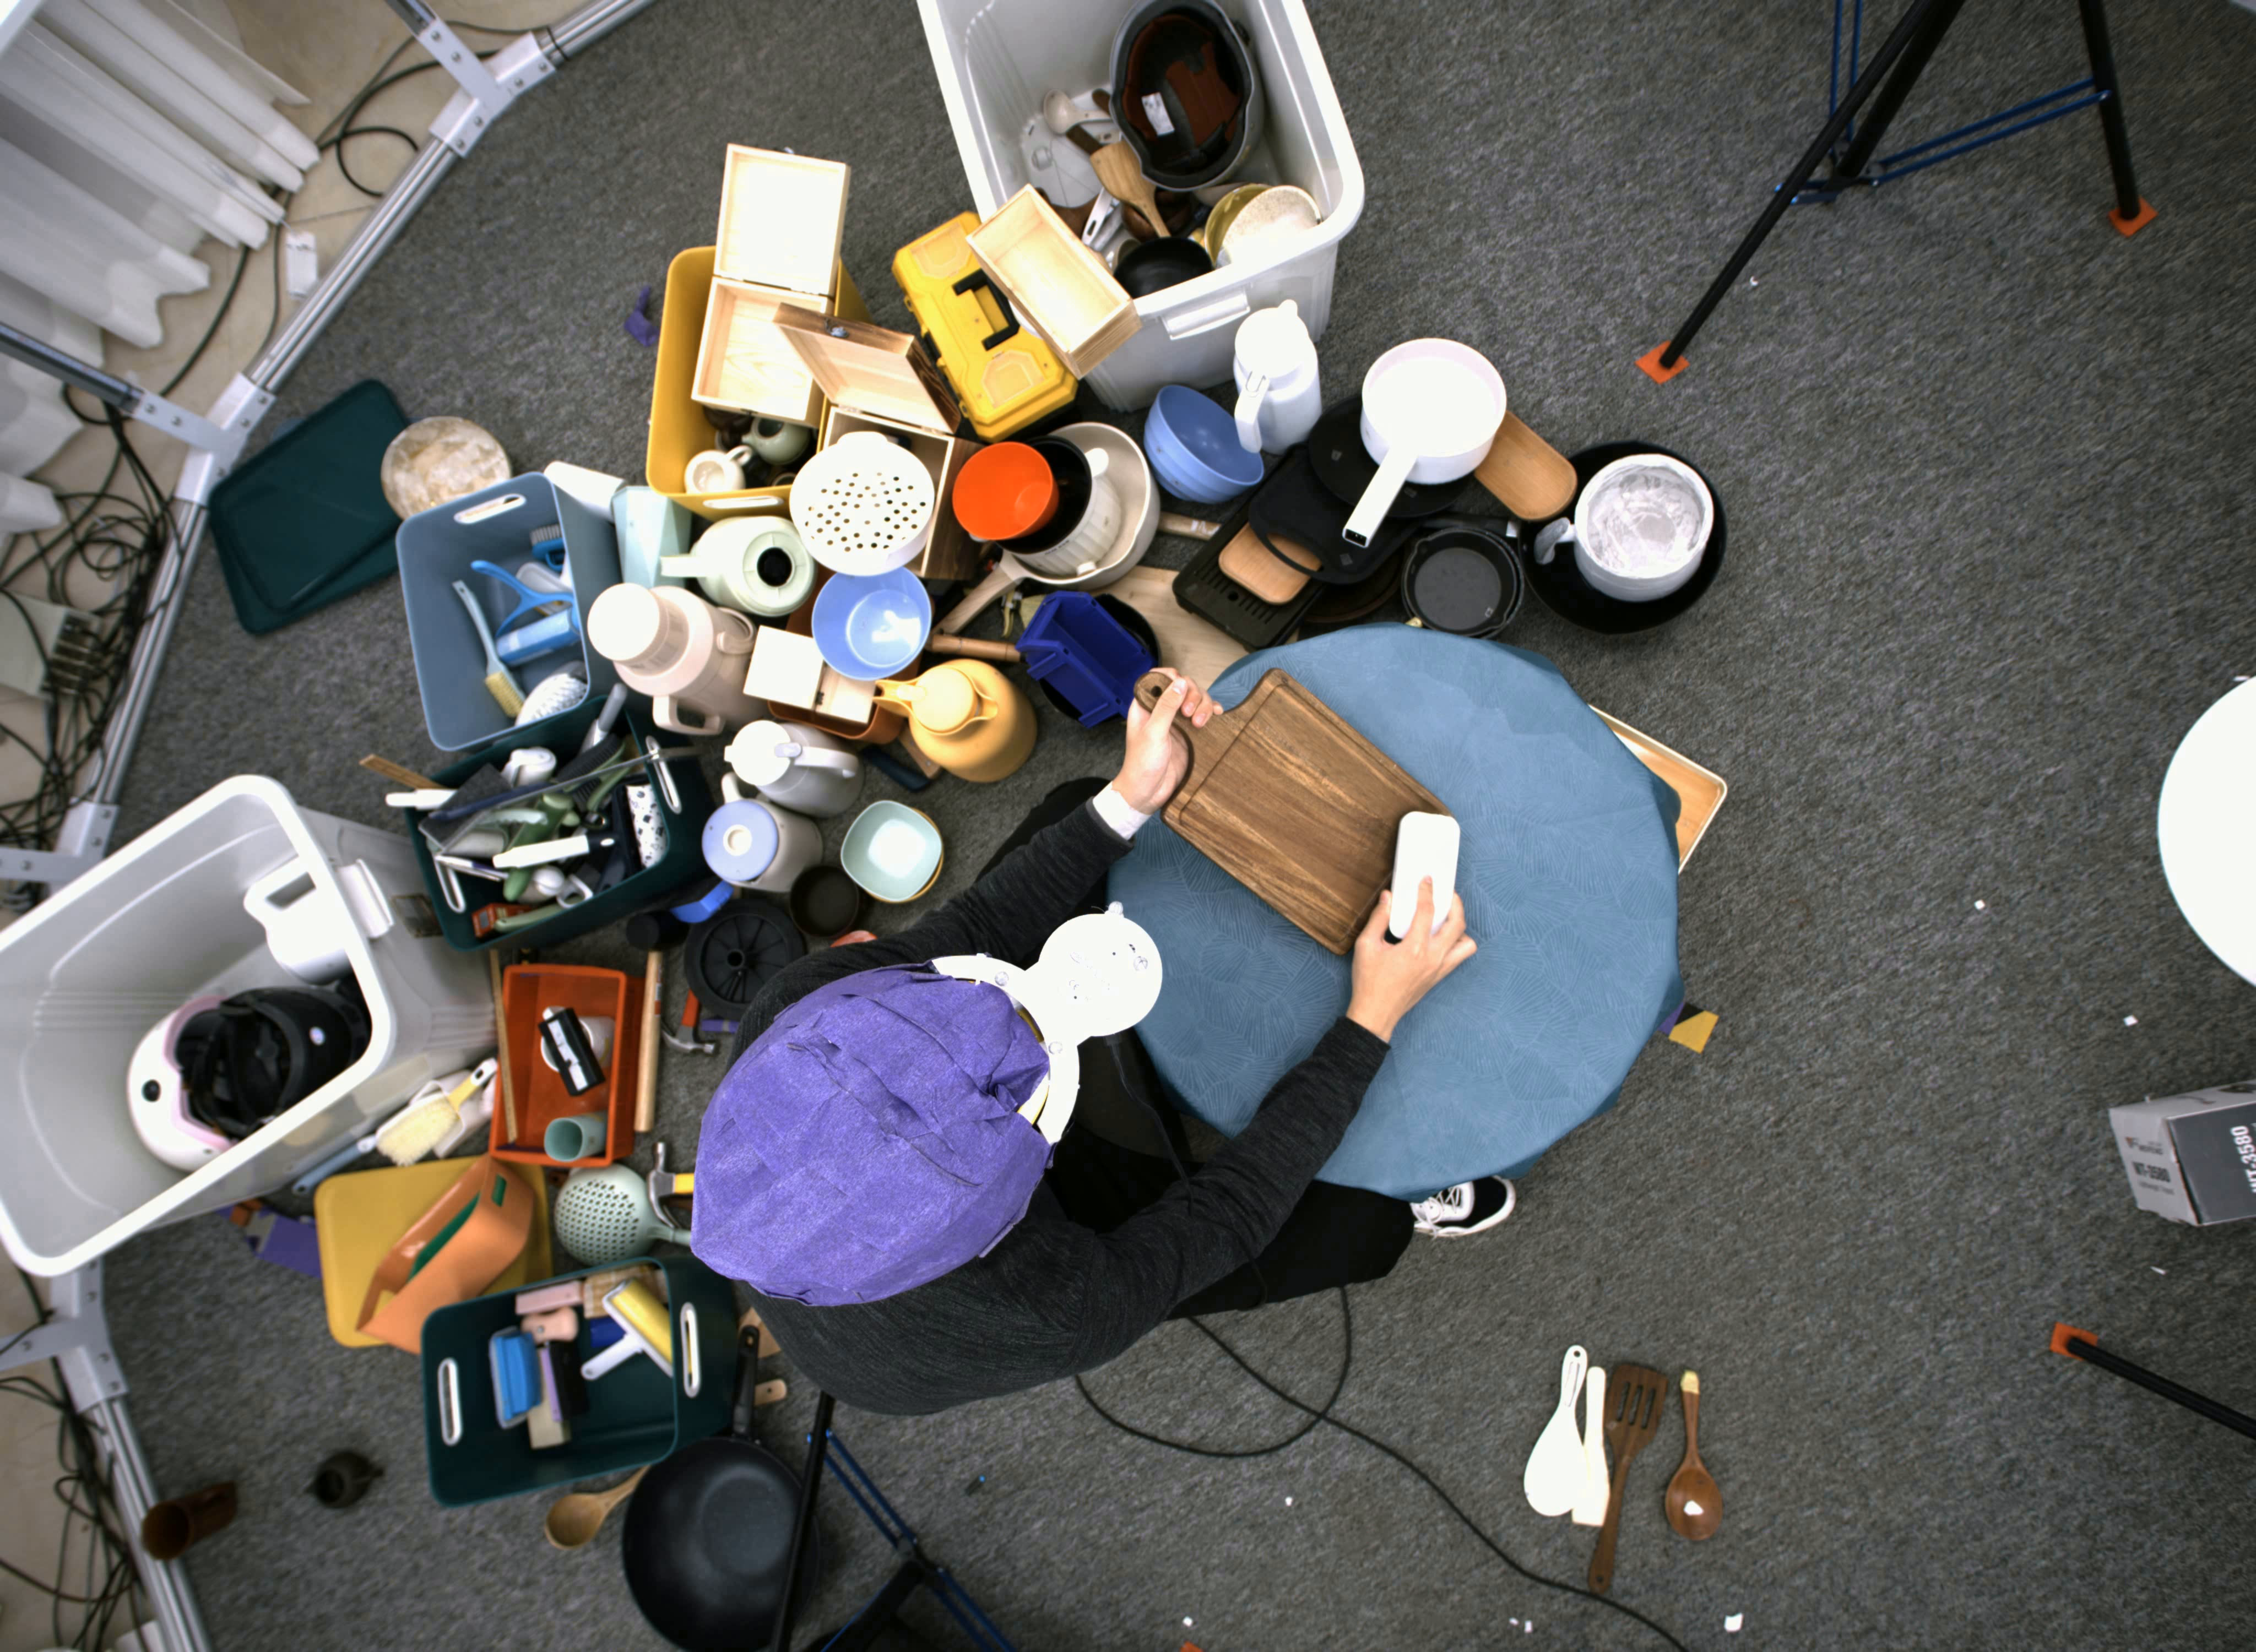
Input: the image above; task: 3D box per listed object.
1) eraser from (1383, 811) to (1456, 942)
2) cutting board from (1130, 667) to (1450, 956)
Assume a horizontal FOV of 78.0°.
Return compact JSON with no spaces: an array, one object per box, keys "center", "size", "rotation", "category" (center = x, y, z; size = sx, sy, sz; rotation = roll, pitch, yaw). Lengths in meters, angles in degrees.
[{"center":[0.299,0.050,1.421],"size":[0.063,0.034,0.131],"rotation":[8,91,-6],"category":"eraser"},{"center":[0.146,-0.042,1.403],"size":[0.354,0.023,0.201],"rotation":[37,91,-15],"category":"cutting board"}]
